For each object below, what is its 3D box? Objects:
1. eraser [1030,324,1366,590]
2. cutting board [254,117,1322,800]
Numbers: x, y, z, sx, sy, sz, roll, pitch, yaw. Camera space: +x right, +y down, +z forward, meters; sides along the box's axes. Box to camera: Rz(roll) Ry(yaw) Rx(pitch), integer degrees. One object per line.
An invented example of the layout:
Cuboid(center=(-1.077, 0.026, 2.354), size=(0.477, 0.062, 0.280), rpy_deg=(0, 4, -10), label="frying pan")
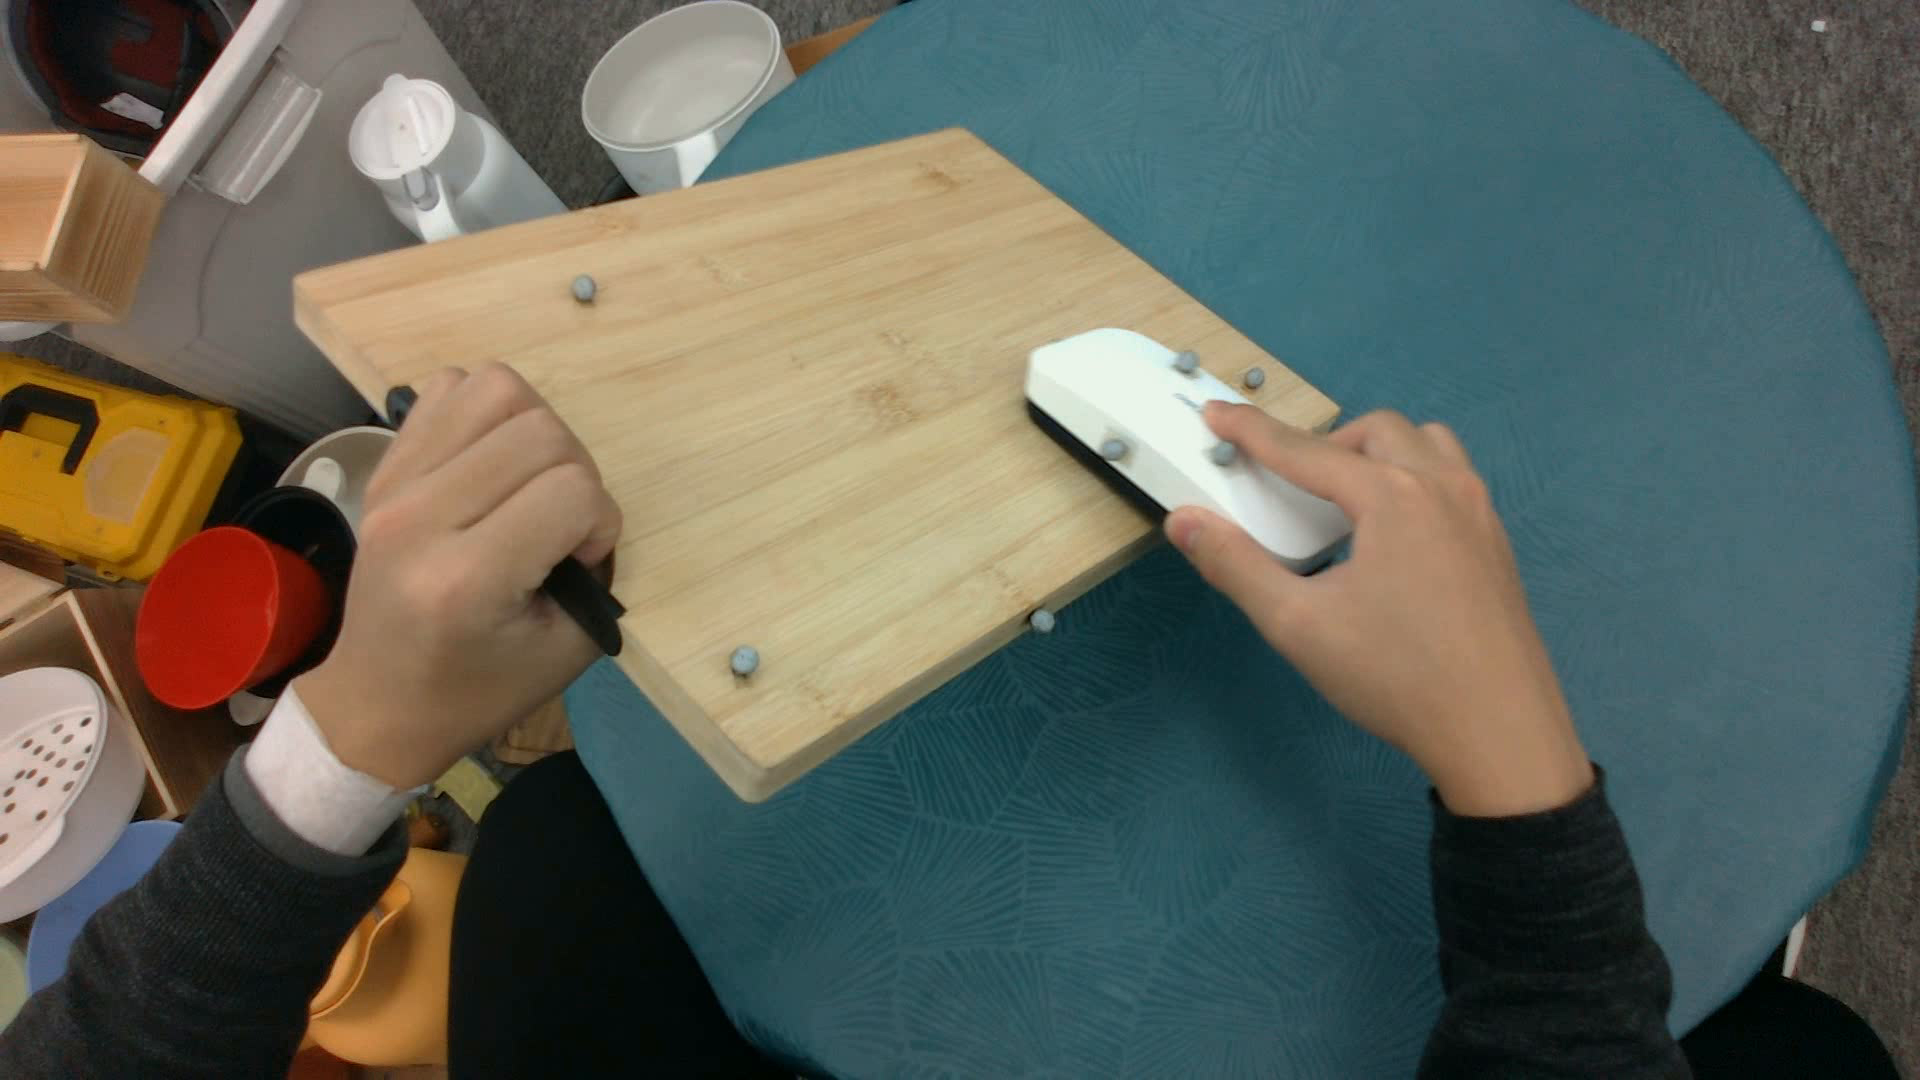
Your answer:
Cuboid(center=(0.085, -0.036, 0.511), size=(0.063, 0.034, 0.131), rpy_deg=(-22, 53, -38), label="eraser")
Cuboid(center=(-0.038, -0.068, 0.533), size=(0.251, 0.023, 0.350), rpy_deg=(41, 44, 20), label="cutting board")
